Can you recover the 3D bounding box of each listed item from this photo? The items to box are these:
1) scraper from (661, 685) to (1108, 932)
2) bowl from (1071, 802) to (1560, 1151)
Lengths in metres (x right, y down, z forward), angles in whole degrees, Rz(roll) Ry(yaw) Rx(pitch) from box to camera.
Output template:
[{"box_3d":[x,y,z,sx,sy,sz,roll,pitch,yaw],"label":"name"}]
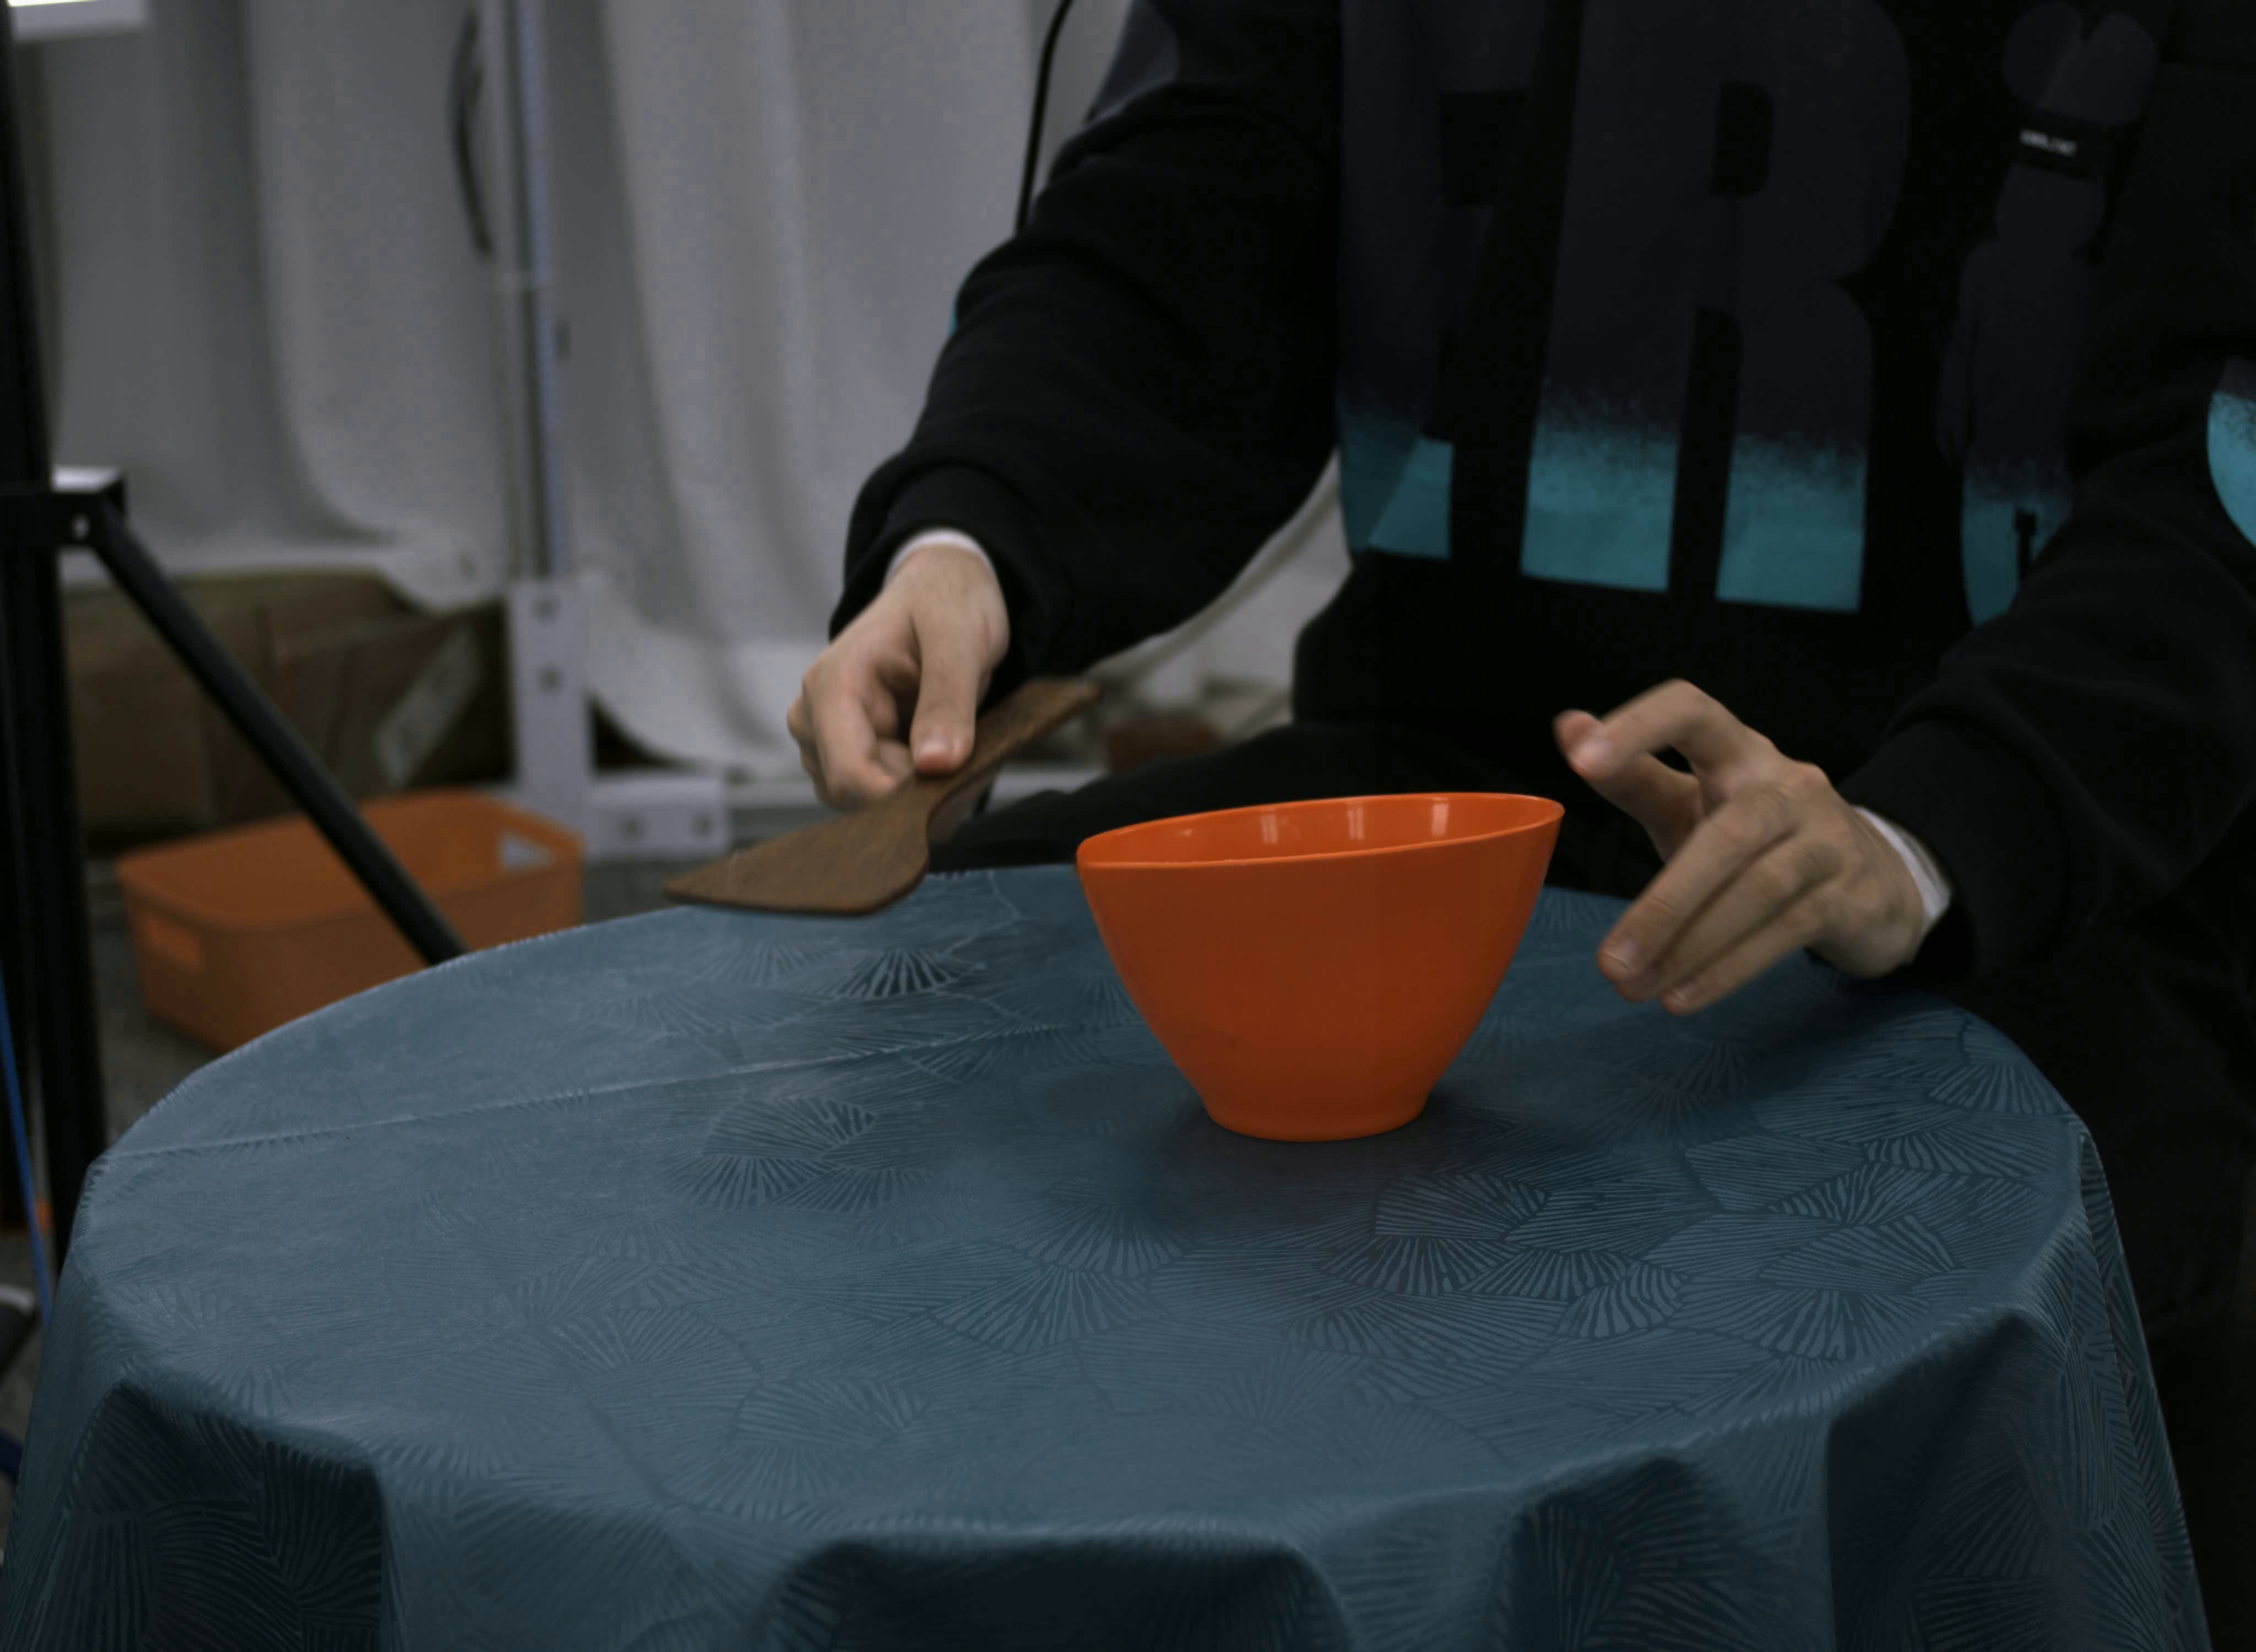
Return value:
[{"box_3d":[-0.064,-0.007,1.675,0.077,0.011,0.208,5,24,29],"label":"scraper"},{"box_3d":[0.058,0.042,1.601,0.147,0.105,0.149,-3,14,-1],"label":"bowl"}]
